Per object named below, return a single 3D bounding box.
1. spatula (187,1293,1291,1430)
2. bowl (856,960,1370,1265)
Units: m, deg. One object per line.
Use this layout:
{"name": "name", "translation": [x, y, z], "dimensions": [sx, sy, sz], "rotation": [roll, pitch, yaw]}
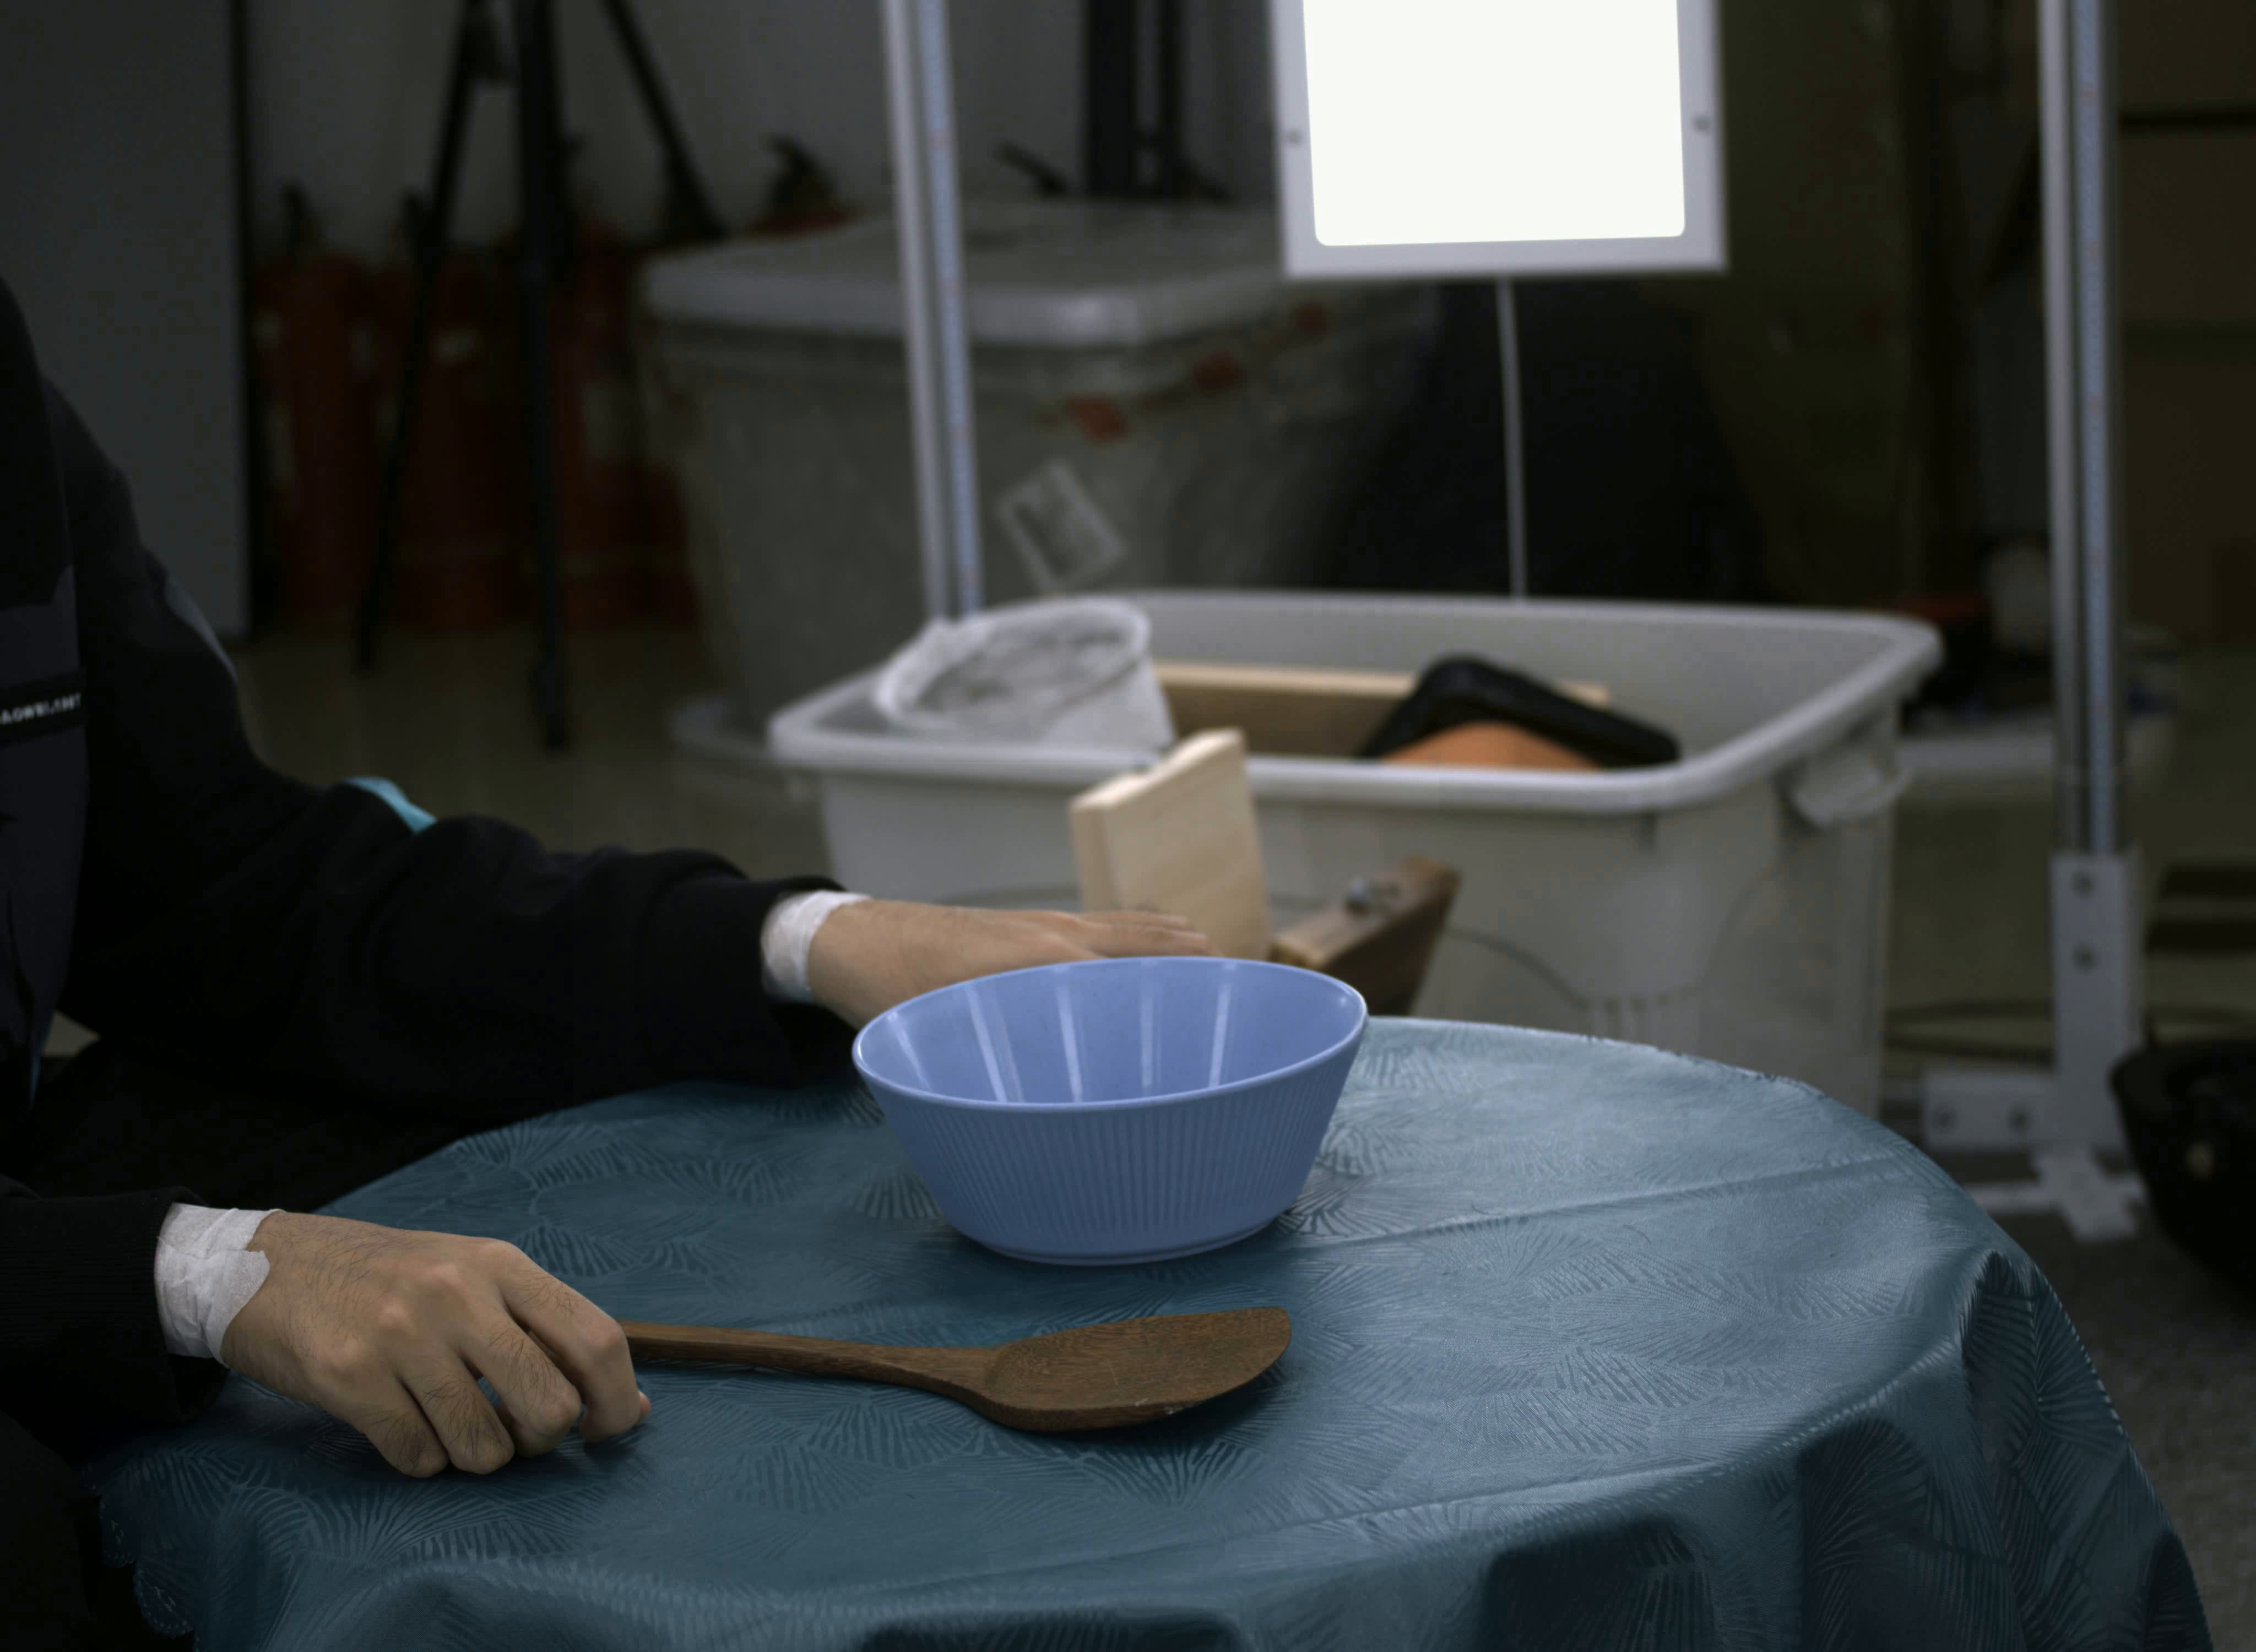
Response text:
{"name": "spatula", "translation": [-0.133, 0.165, 1.758], "dimensions": [0.392, 0.016, 0.094], "rotation": [1, 14, 24]}
{"name": "bowl", "translation": [-0.002, 0.099, 1.863], "dimensions": [0.175, 0.070, 0.176], "rotation": [-6, 13, 0]}
